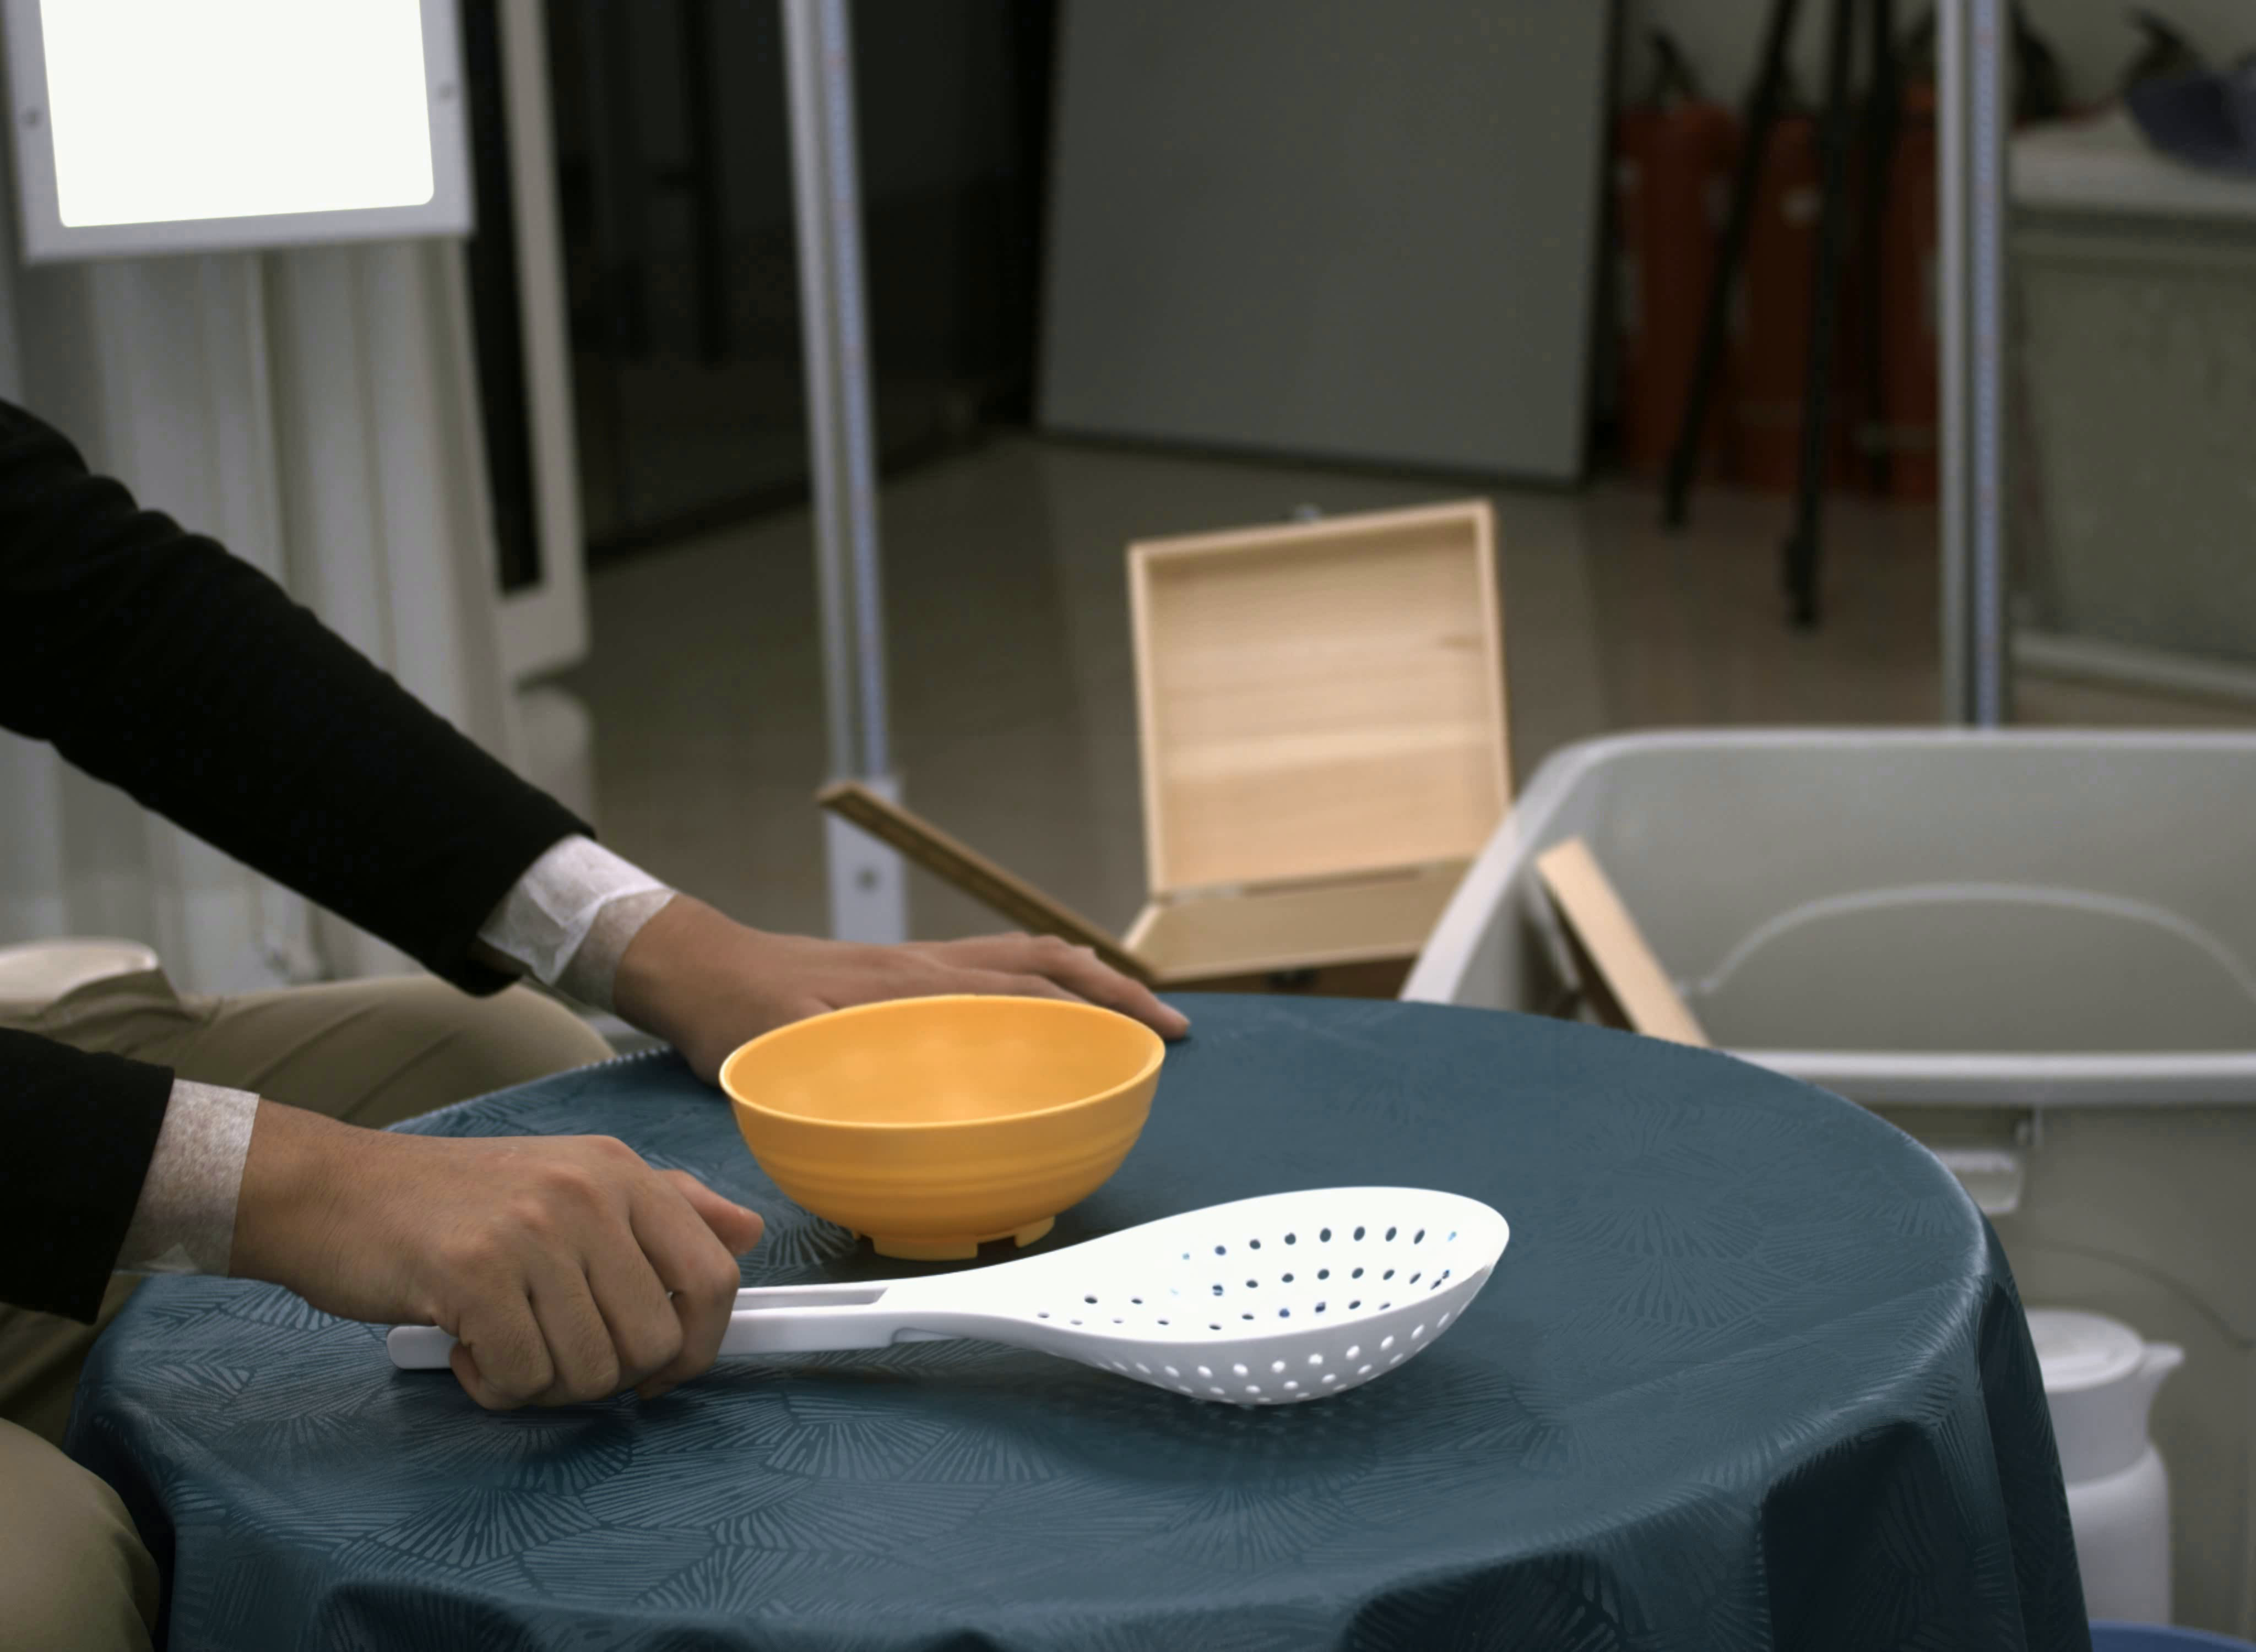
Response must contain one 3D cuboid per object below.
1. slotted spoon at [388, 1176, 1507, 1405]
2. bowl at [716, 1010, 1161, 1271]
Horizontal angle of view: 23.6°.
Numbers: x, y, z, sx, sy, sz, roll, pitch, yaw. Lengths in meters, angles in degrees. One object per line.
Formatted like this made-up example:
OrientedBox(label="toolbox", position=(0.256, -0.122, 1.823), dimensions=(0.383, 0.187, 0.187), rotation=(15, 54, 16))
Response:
OrientedBox(label="slotted spoon", position=(-0.057, 0.143, 1.600), dimensions=(0.348, 0.046, 0.135), rotation=(-1, 16, 16))
OrientedBox(label="bowl", position=(-0.060, 0.105, 1.737), dimensions=(0.143, 0.061, 0.145), rotation=(-2, 12, 0))
